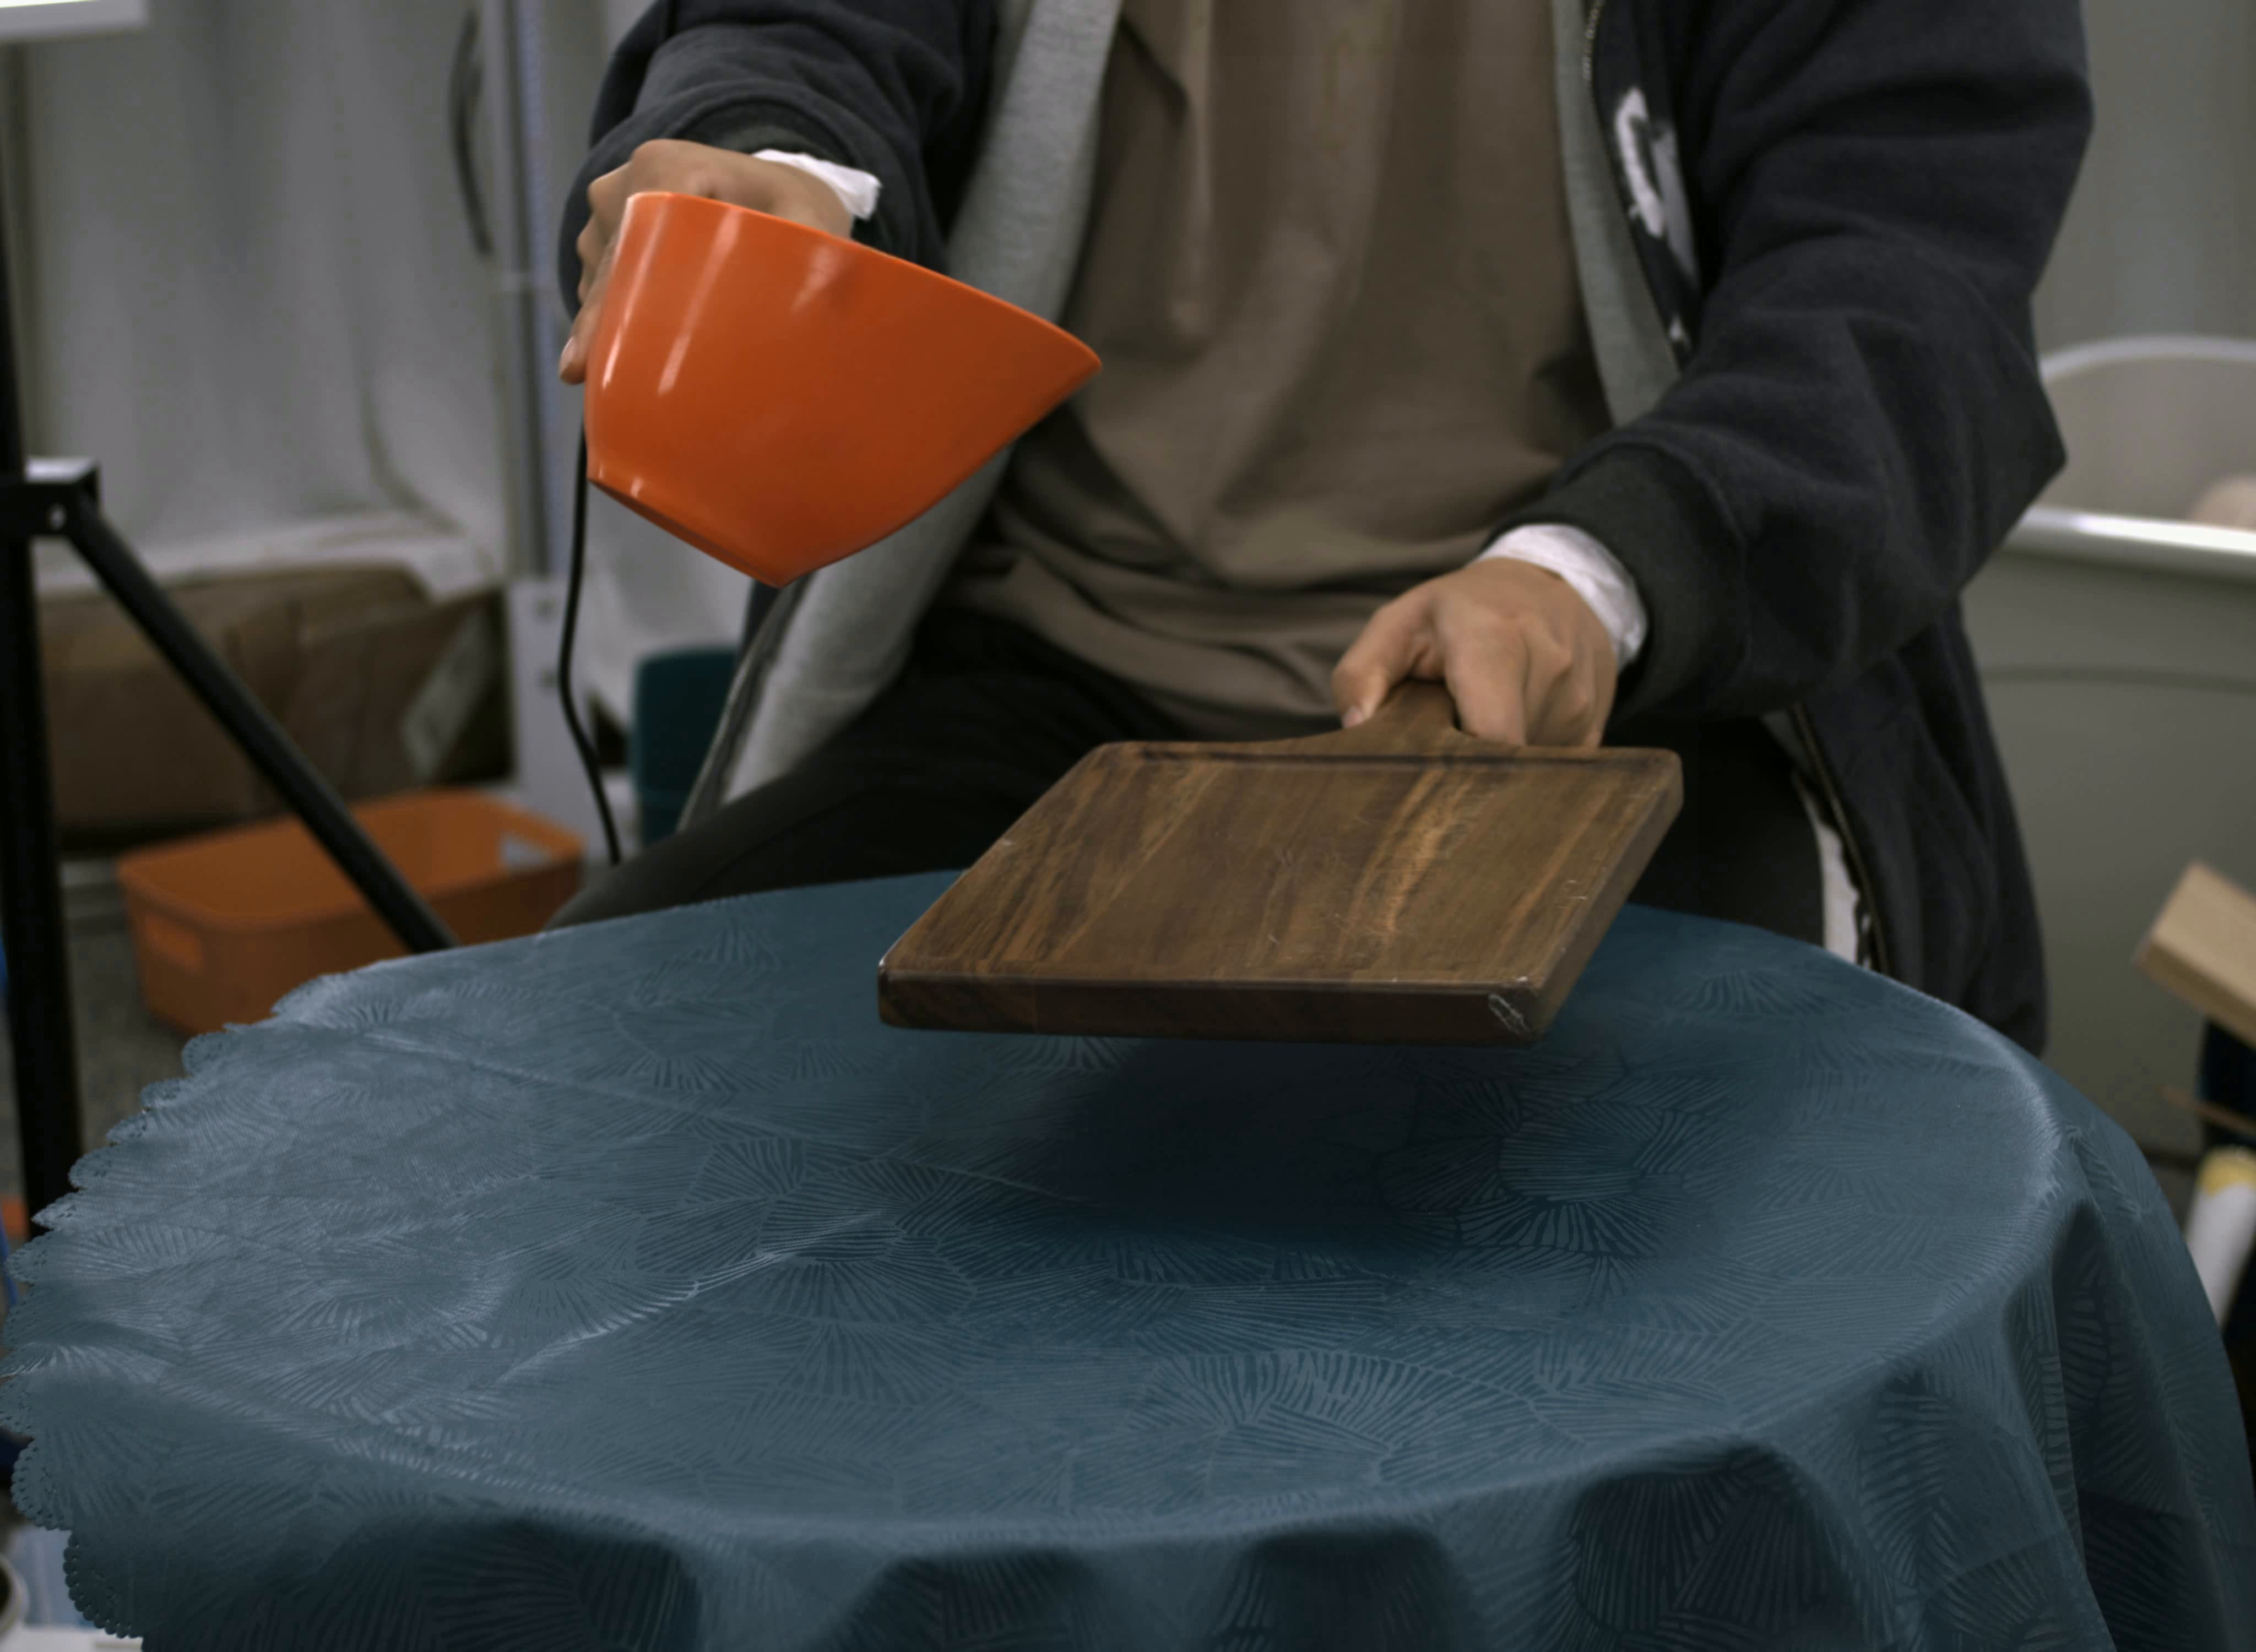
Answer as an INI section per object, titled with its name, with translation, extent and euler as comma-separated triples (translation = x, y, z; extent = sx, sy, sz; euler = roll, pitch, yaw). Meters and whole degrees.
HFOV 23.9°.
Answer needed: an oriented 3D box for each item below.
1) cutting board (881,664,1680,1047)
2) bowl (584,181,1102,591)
[cutting board]
translation = 0.064, 0.004, 1.647
extent = 0.203, 0.023, 0.349
euler = 0, 16, 16
[bowl]
translation = -0.097, -0.125, 1.585
extent = 0.148, 0.105, 0.148
euler = 31, -3, 0
